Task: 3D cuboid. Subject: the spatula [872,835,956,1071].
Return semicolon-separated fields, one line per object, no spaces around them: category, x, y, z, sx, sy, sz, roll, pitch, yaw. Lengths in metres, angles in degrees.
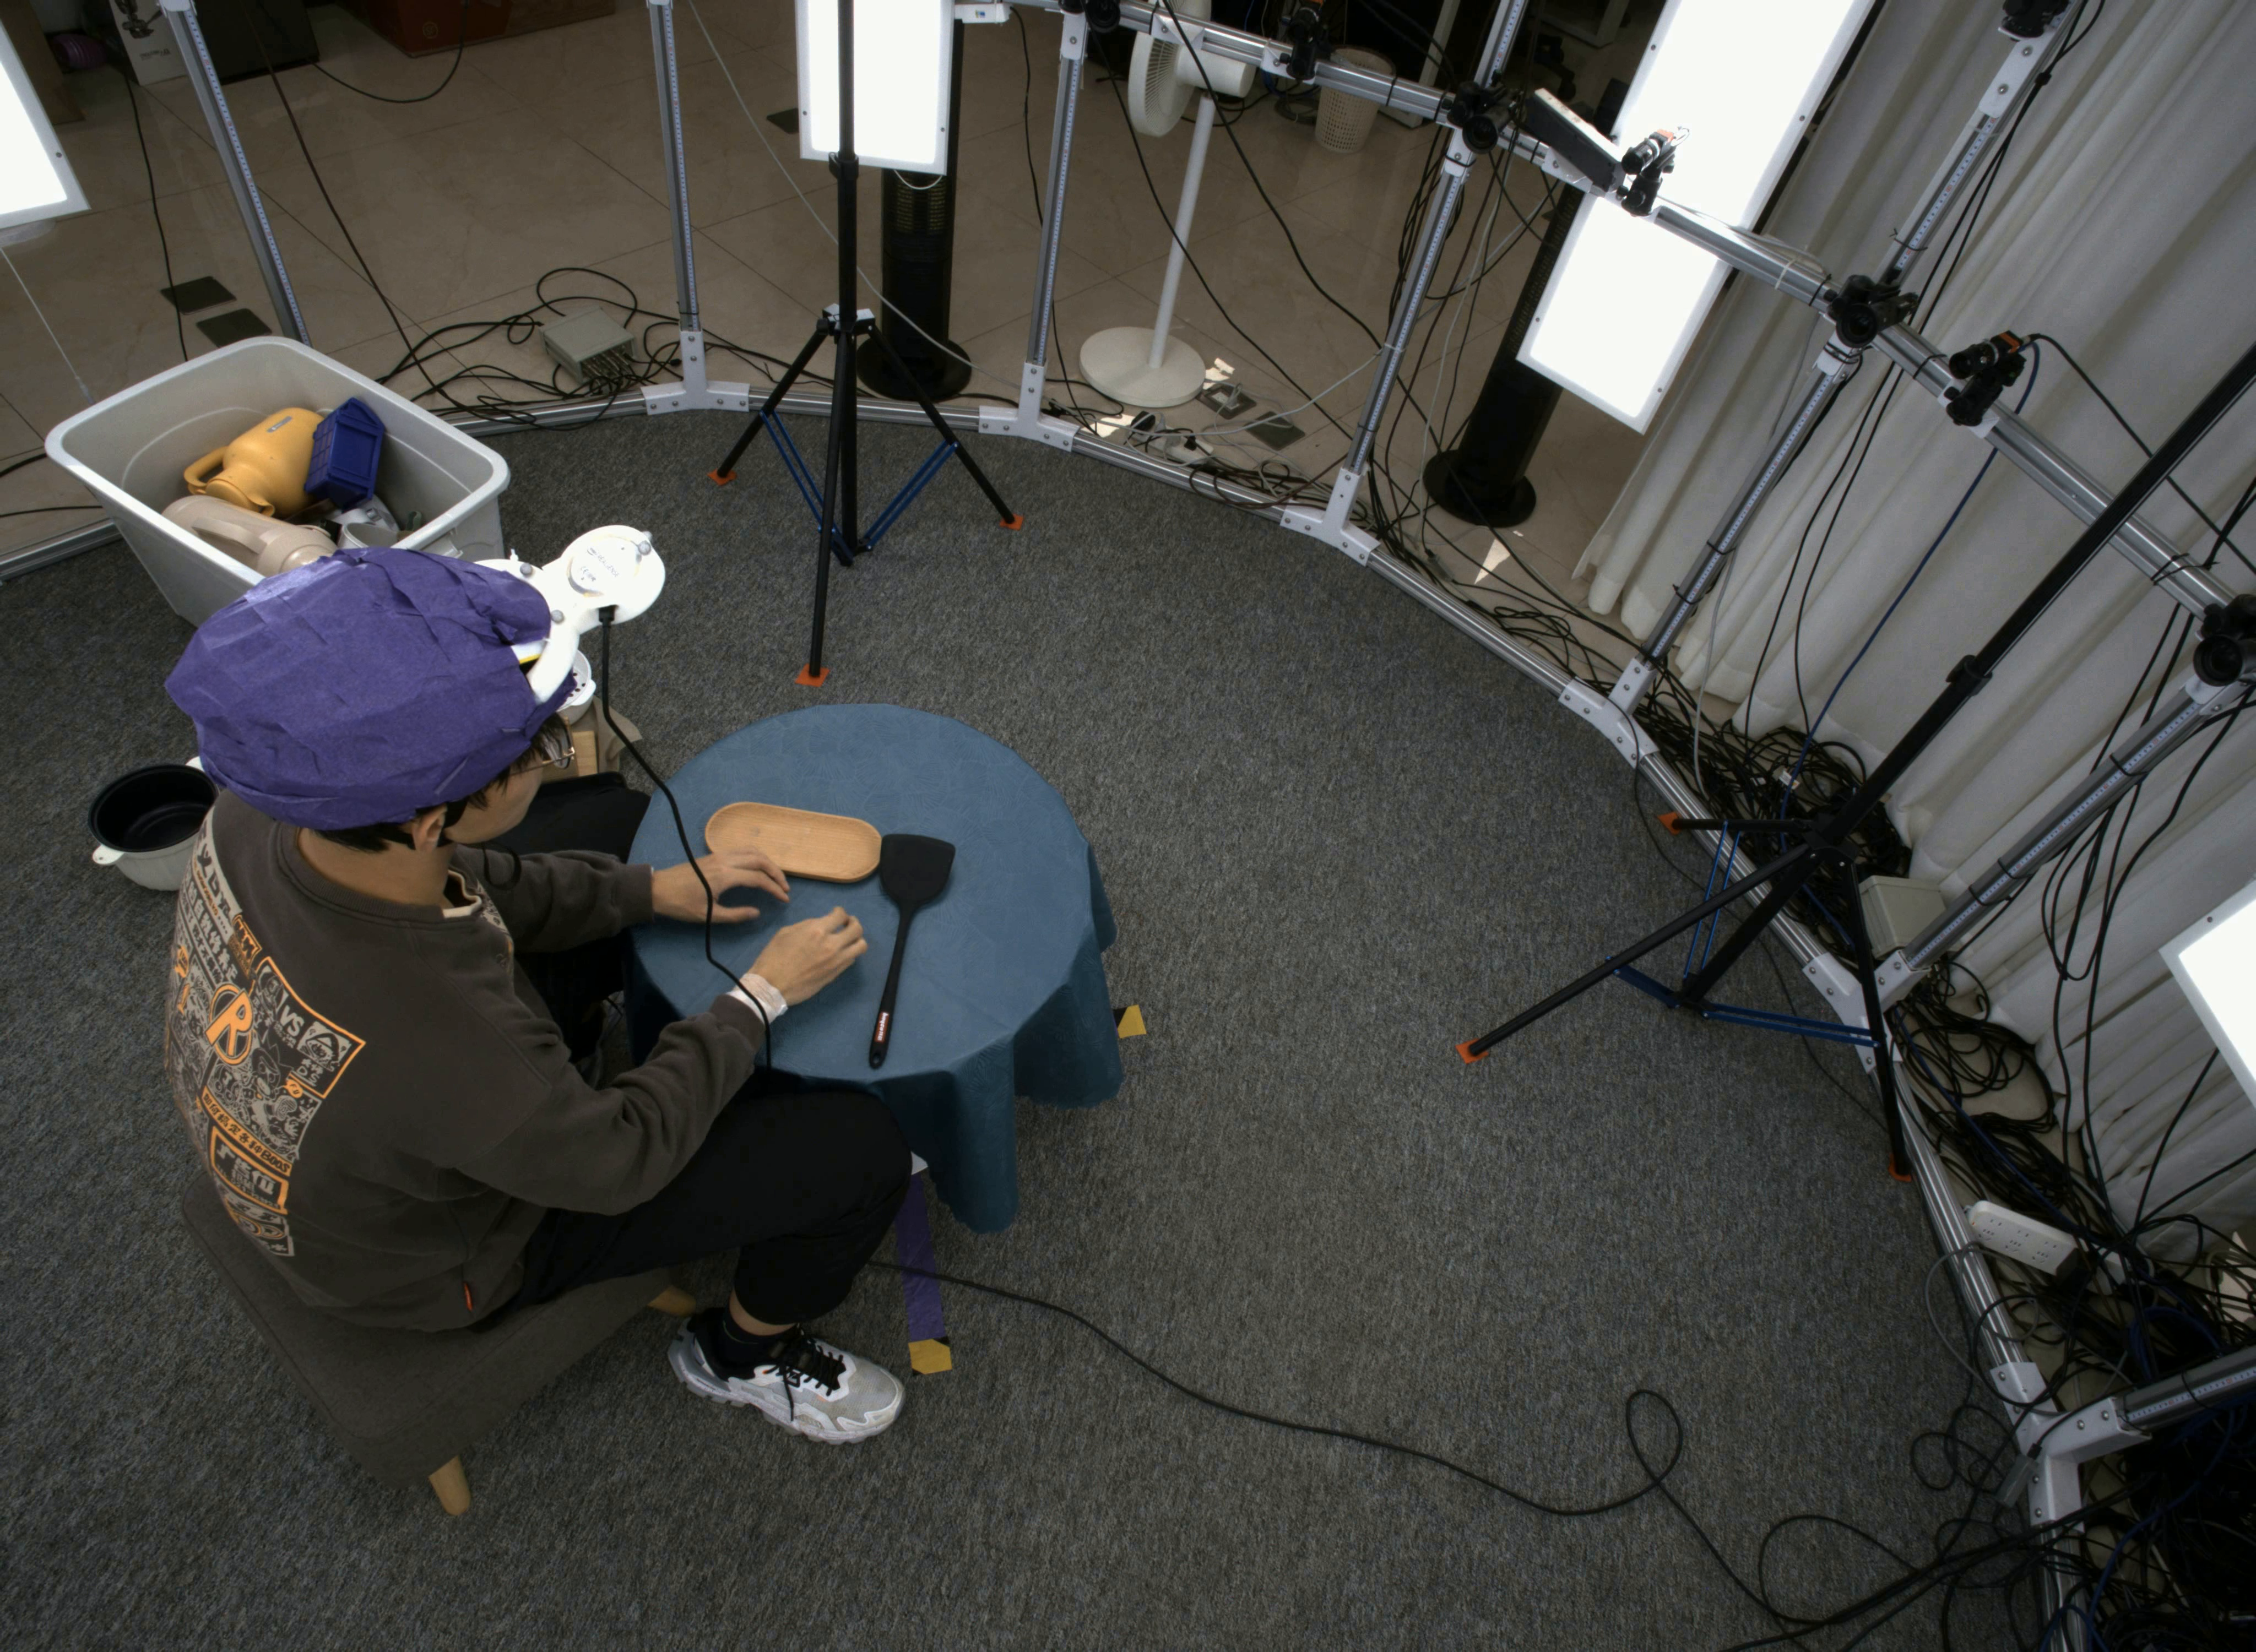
spatula;-0.287;0.152;1.637;0.099;0.041;0.321;9;53;-5

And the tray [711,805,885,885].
tray;-0.433;0.024;1.709;0.230;0.021;0.100;10;53;-8
